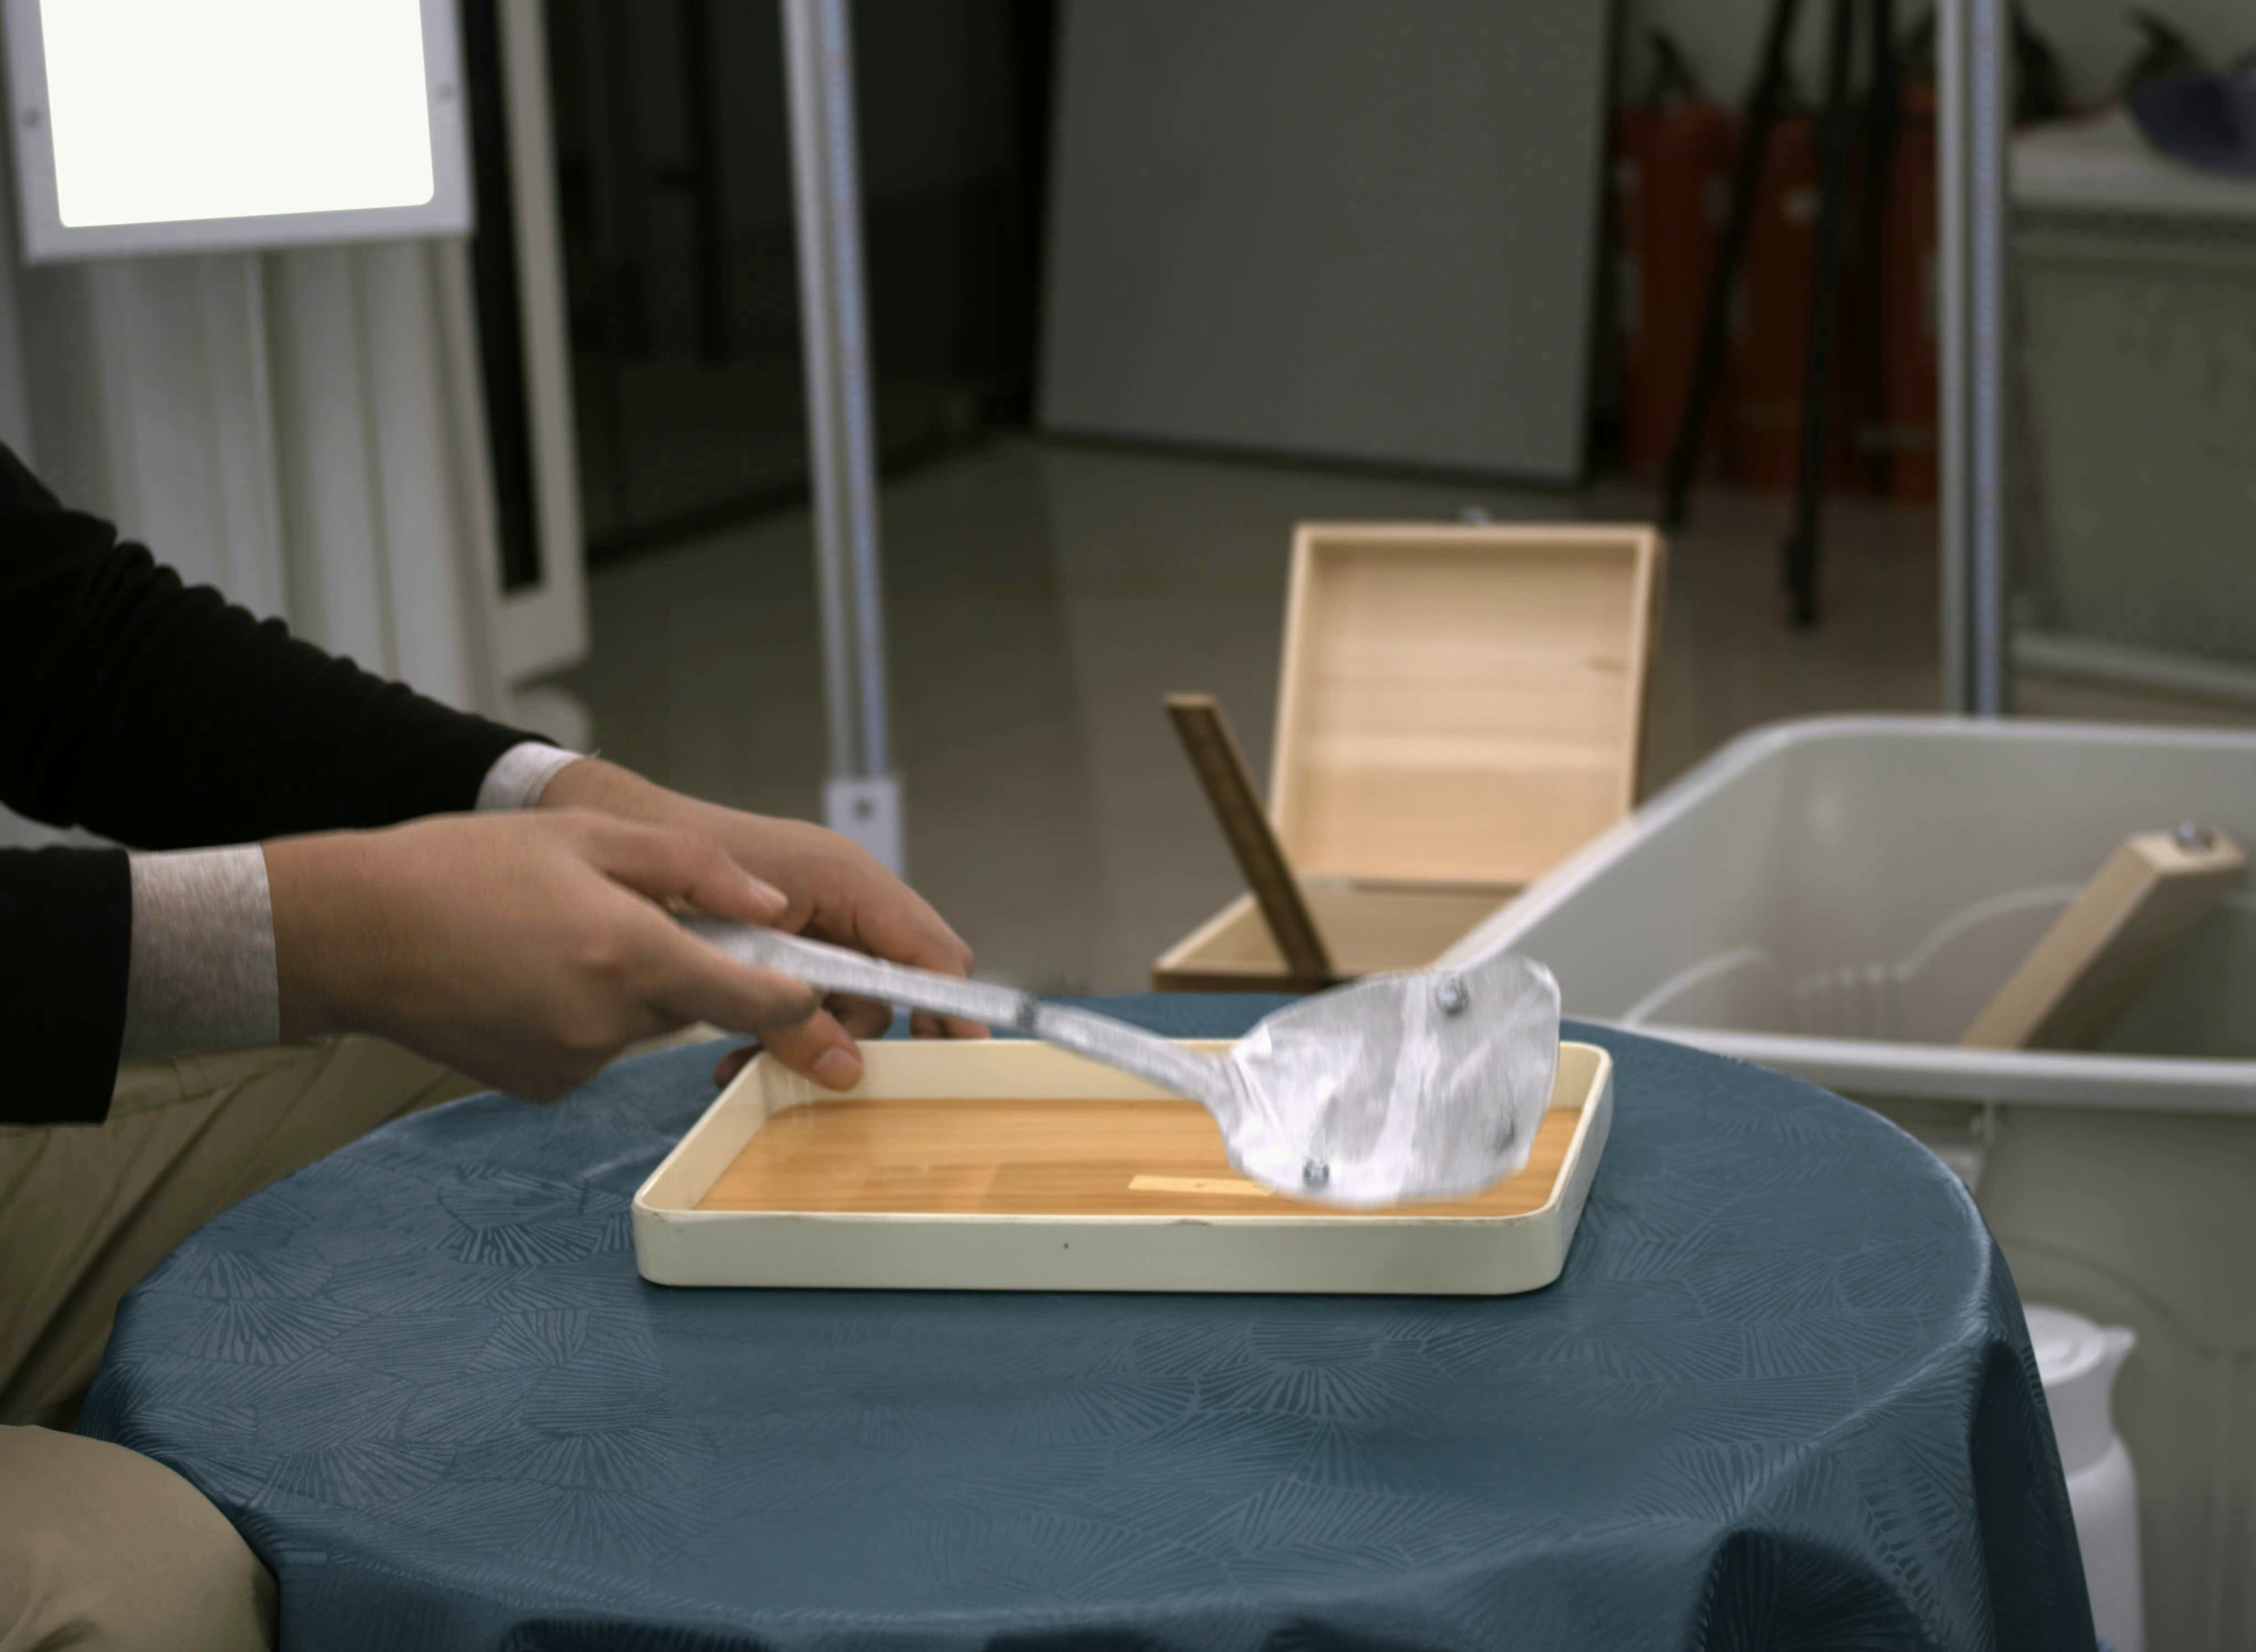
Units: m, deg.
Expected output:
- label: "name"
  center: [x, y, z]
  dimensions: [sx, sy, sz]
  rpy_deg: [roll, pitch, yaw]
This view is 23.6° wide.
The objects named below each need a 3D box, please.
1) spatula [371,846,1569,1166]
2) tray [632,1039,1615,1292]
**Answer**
- label: "spatula"
  center: [-0.052, 0.039, 1.583]
  dimensions: [0.362, 0.045, 0.099]
  rpy_deg: [12, 44, 7]
- label: "tray"
  center: [0.003, 0.110, 1.757]
  dimensions: [0.298, 0.028, 0.190]
  rpy_deg: [-1, 14, 14]
